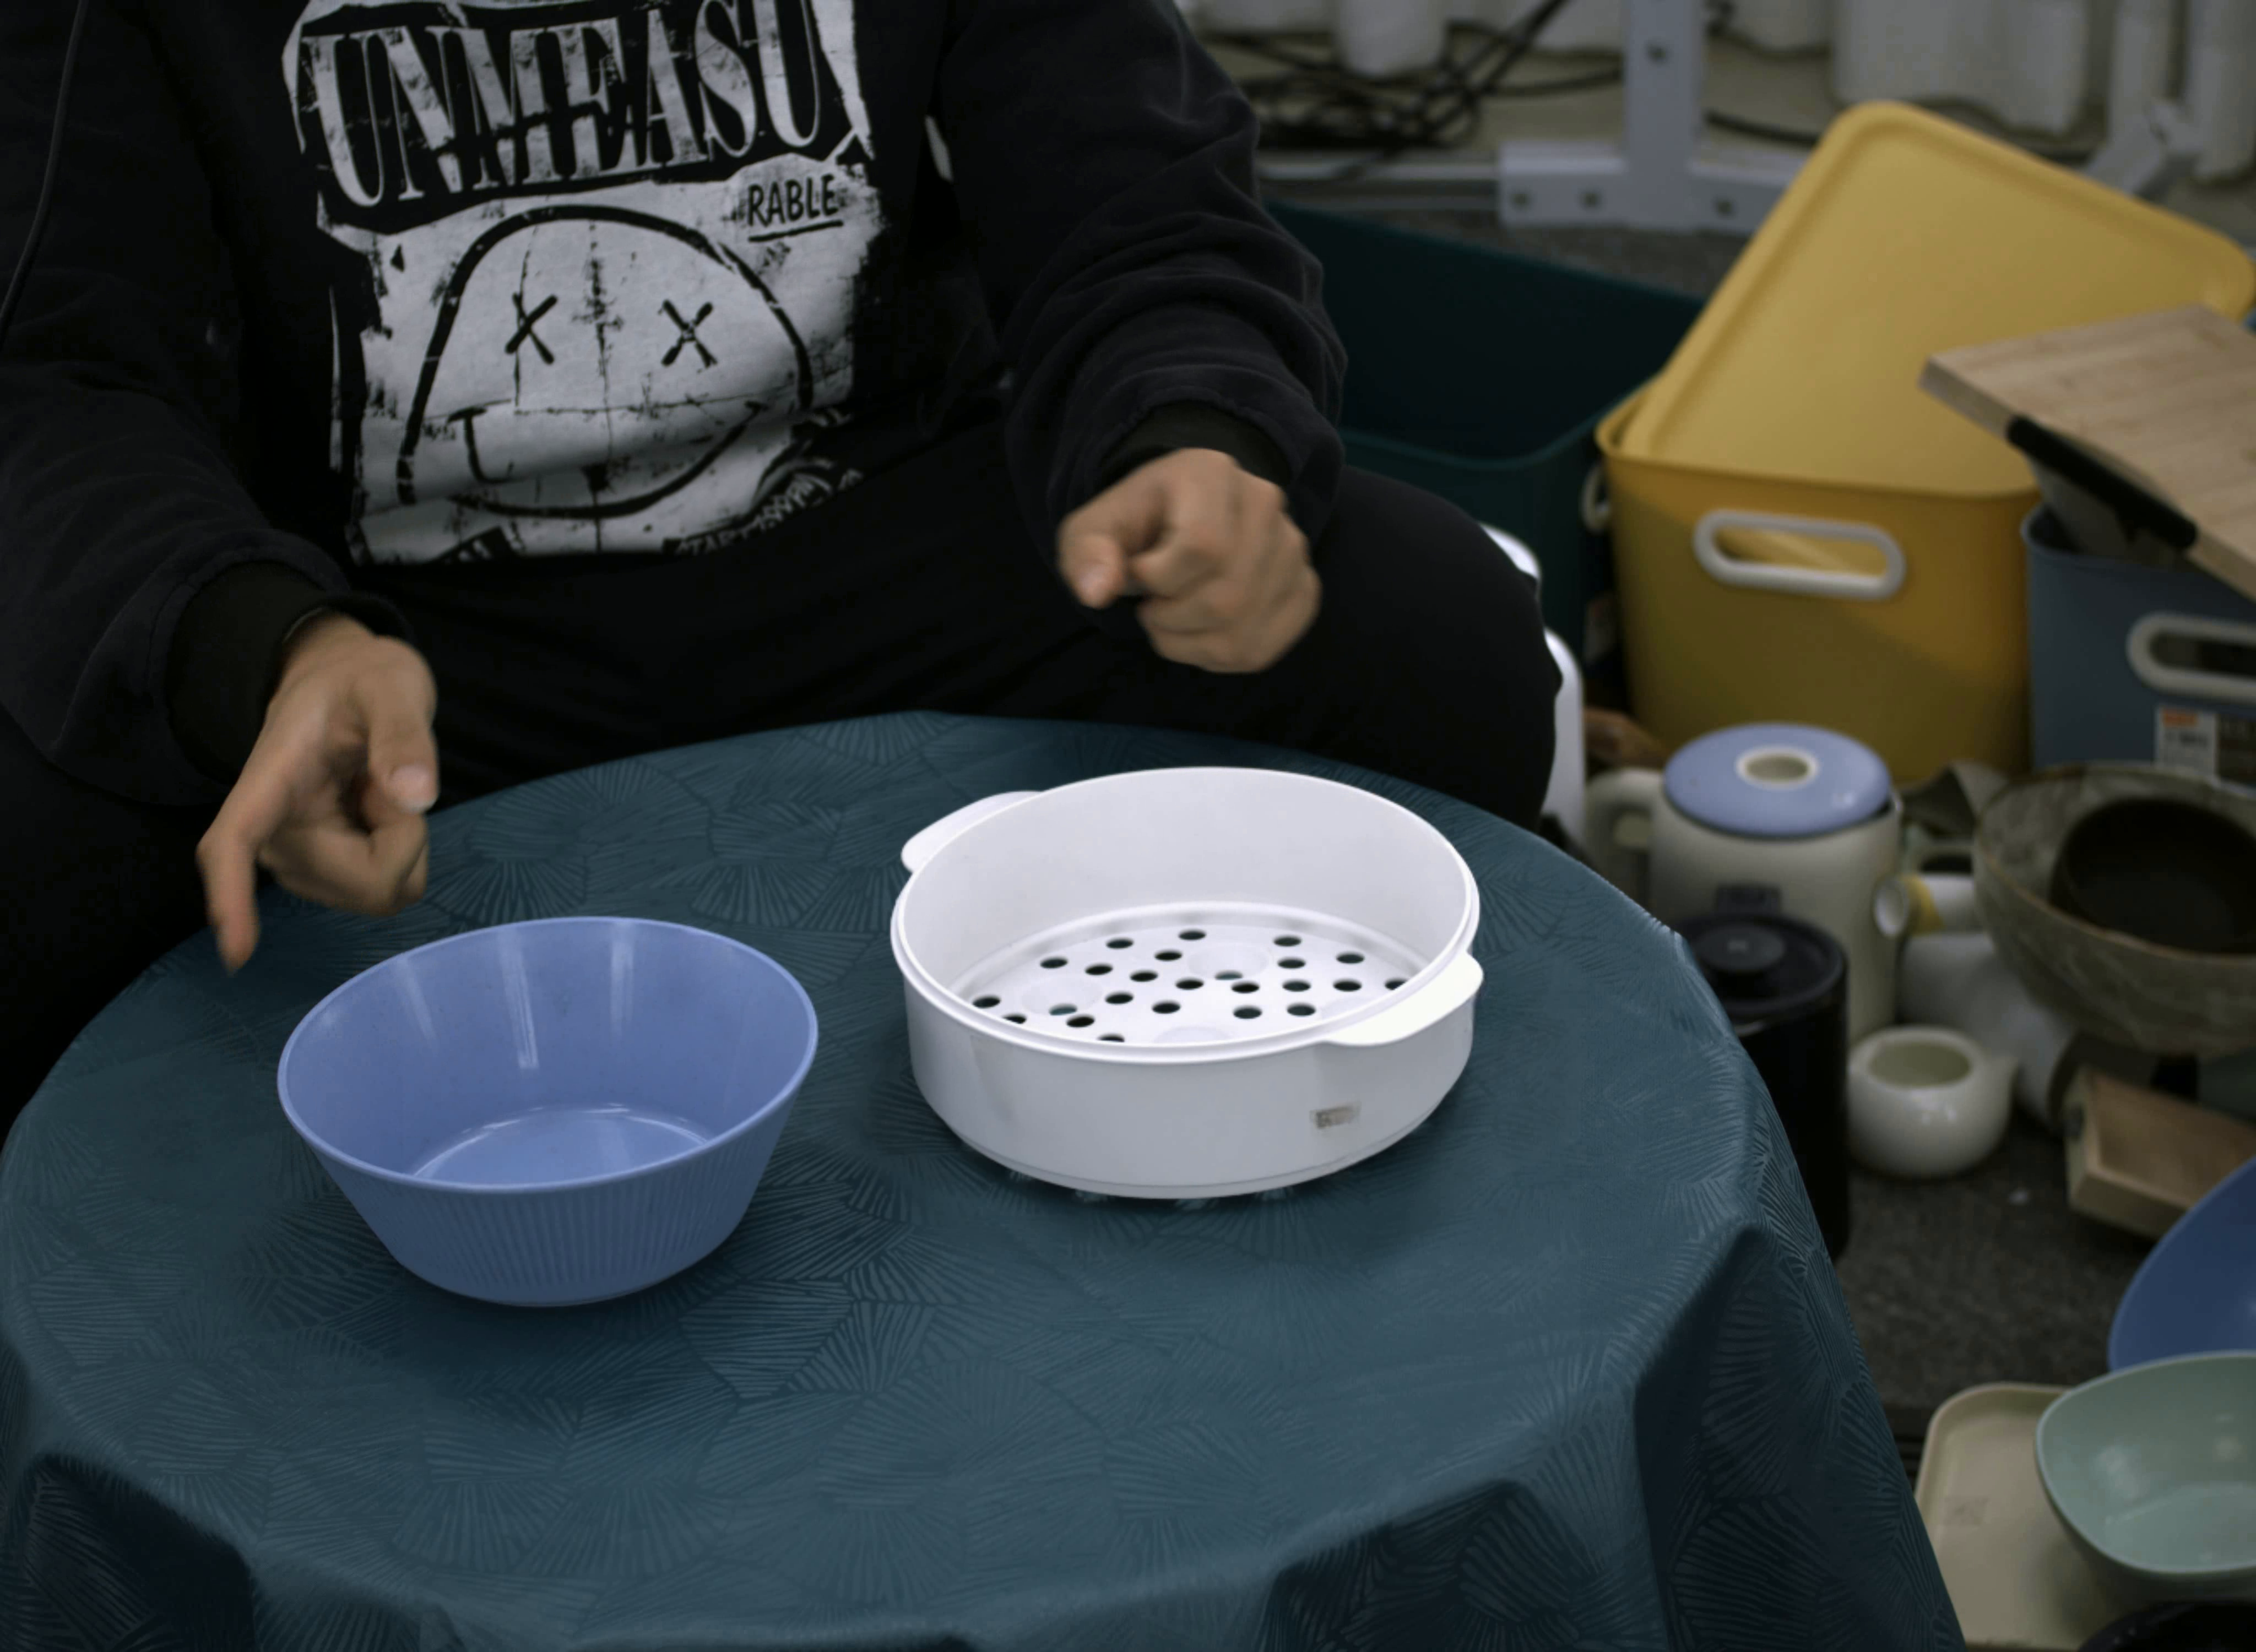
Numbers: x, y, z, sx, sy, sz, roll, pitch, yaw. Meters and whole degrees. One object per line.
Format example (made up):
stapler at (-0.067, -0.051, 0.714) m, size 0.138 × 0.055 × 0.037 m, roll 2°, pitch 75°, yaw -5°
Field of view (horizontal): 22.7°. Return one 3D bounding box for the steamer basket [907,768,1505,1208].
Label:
steamer basket at (0.026, 0.055, 1.913) m, size 0.230 × 0.068 × 0.204 m, roll 23°, pitch 36°, yaw 36°

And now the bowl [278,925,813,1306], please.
bowl at (-0.188, 0.101, 1.843) m, size 0.175 × 0.069 × 0.178 m, roll -1°, pitch 26°, yaw 1°
